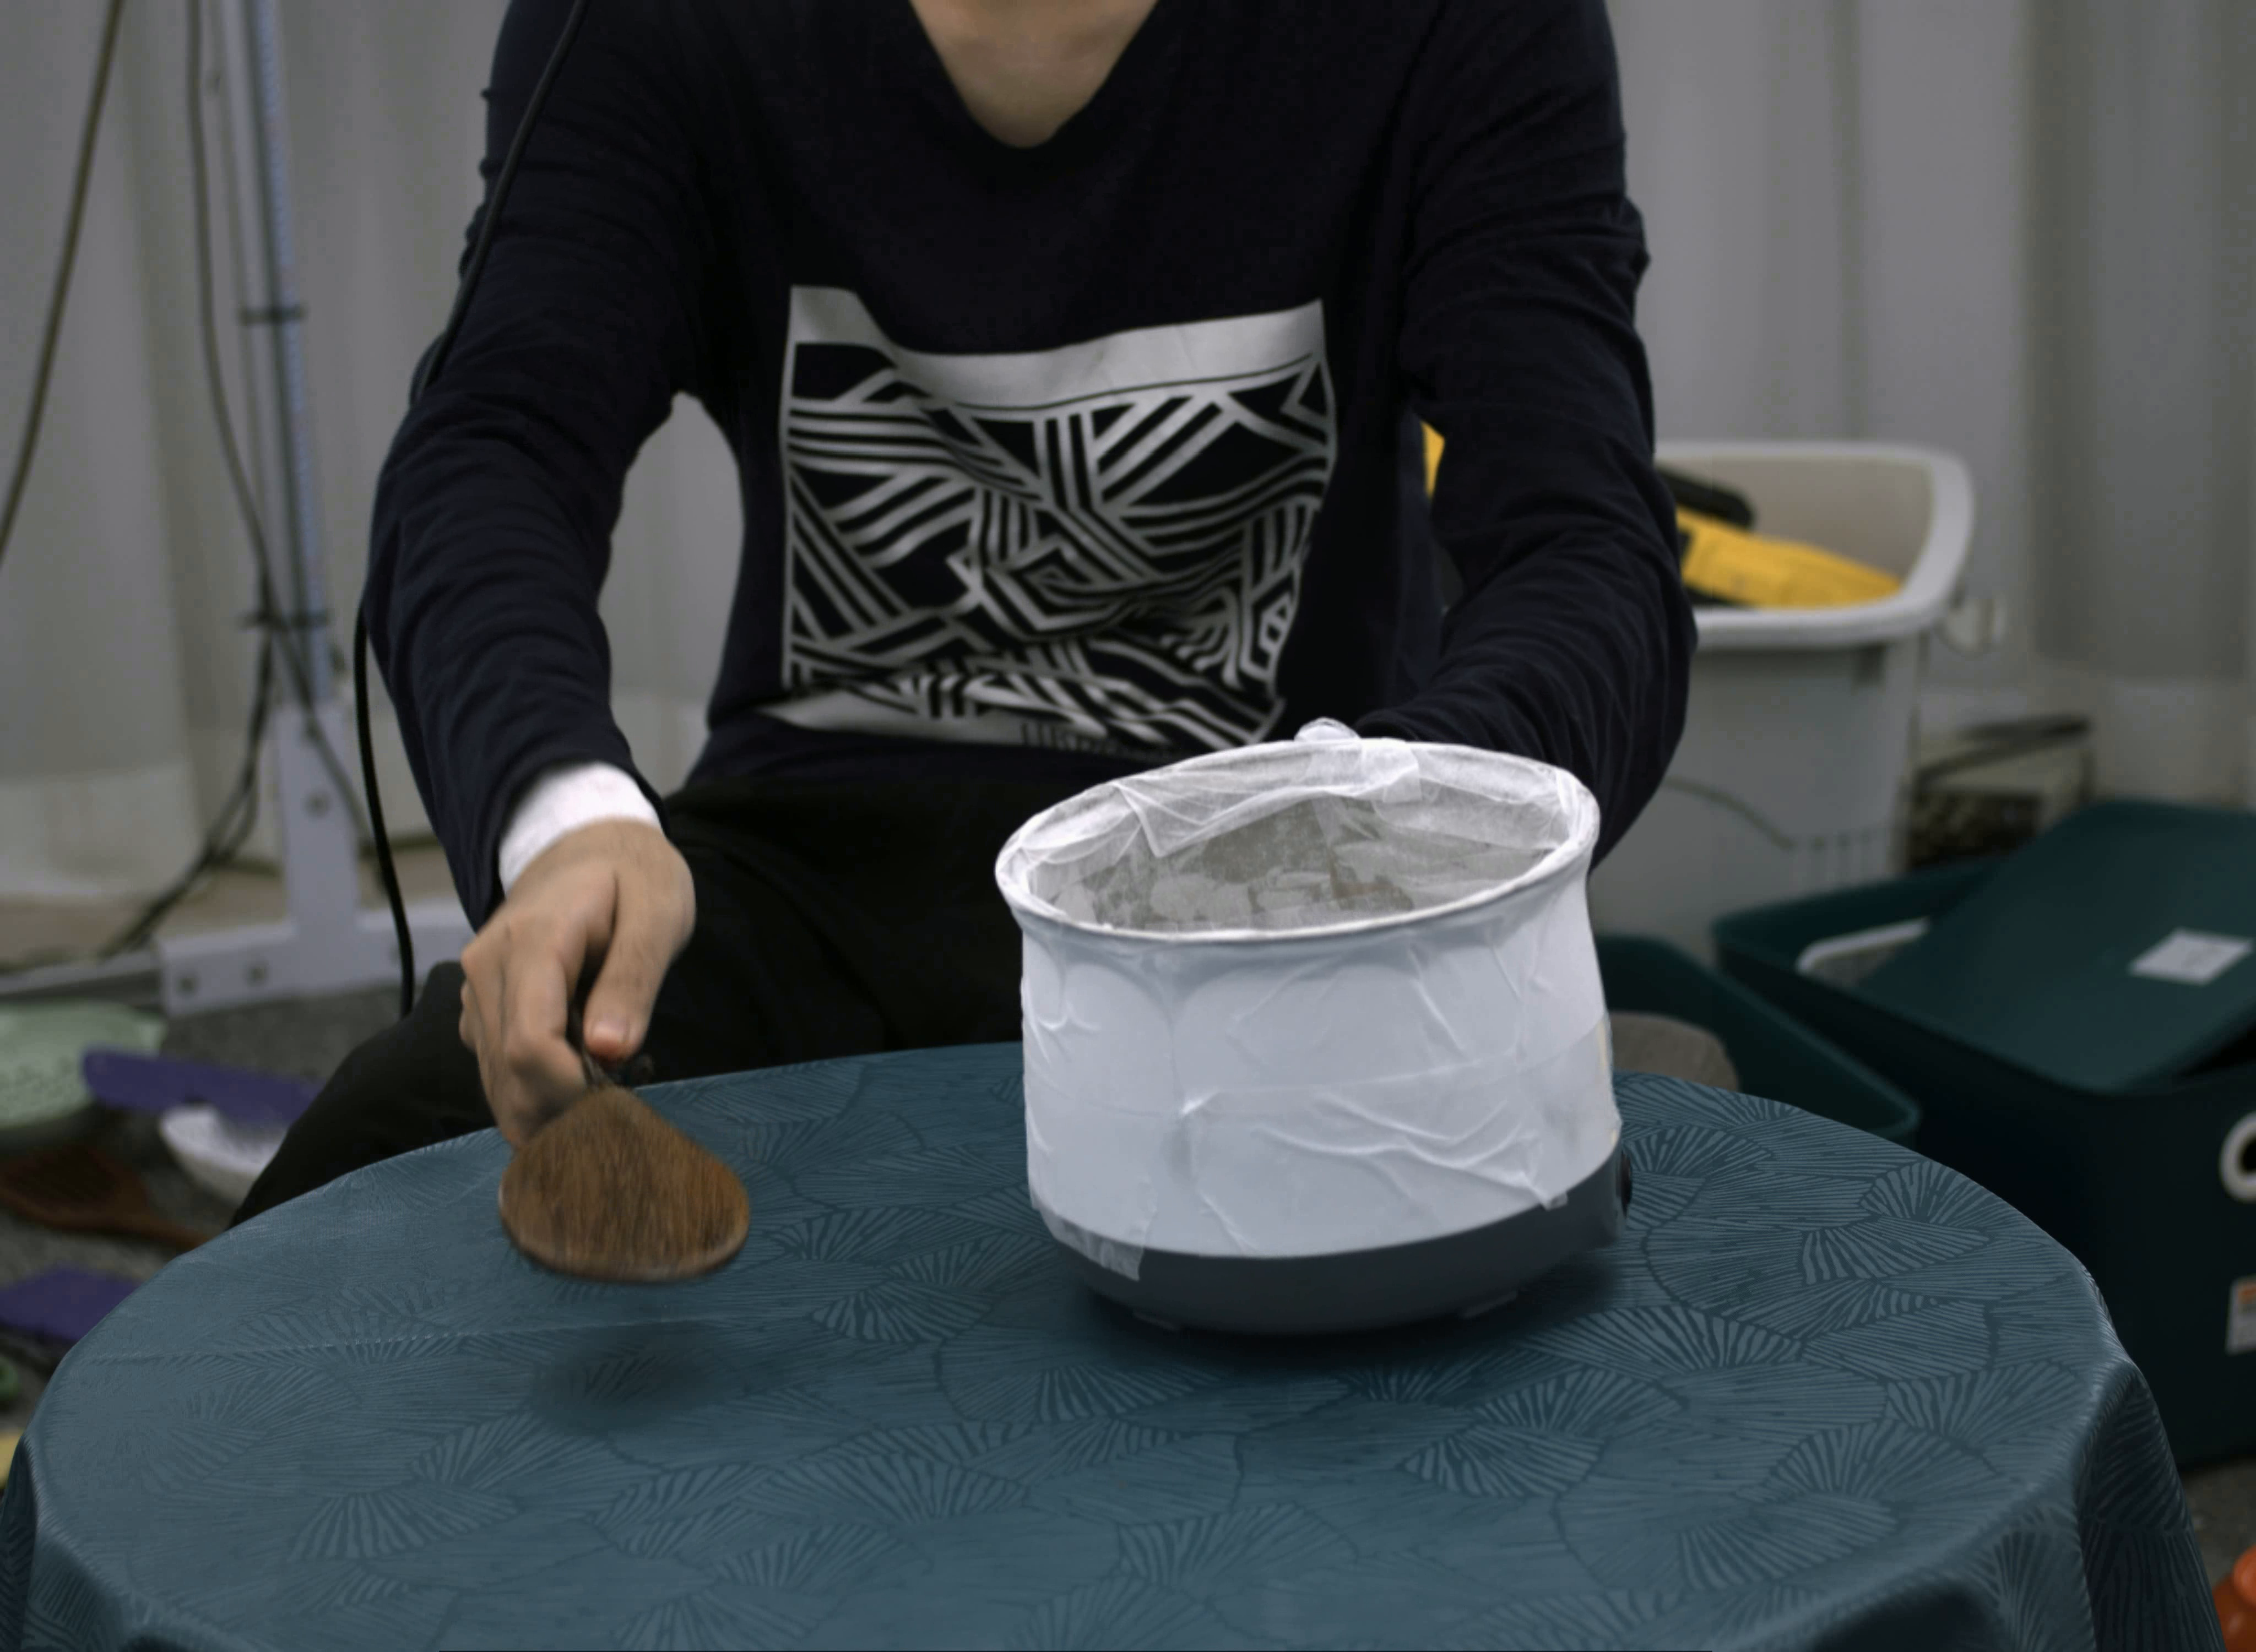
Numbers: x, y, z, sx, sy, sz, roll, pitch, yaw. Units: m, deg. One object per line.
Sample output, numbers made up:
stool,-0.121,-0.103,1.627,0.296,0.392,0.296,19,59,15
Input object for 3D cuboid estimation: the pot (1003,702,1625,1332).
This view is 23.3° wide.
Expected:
pot,0.058,0.051,1.633,0.178,0.136,0.235,-1,19,6

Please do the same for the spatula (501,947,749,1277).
spatula,-0.154,0.082,1.639,0.071,0.009,0.218,2,22,-9
